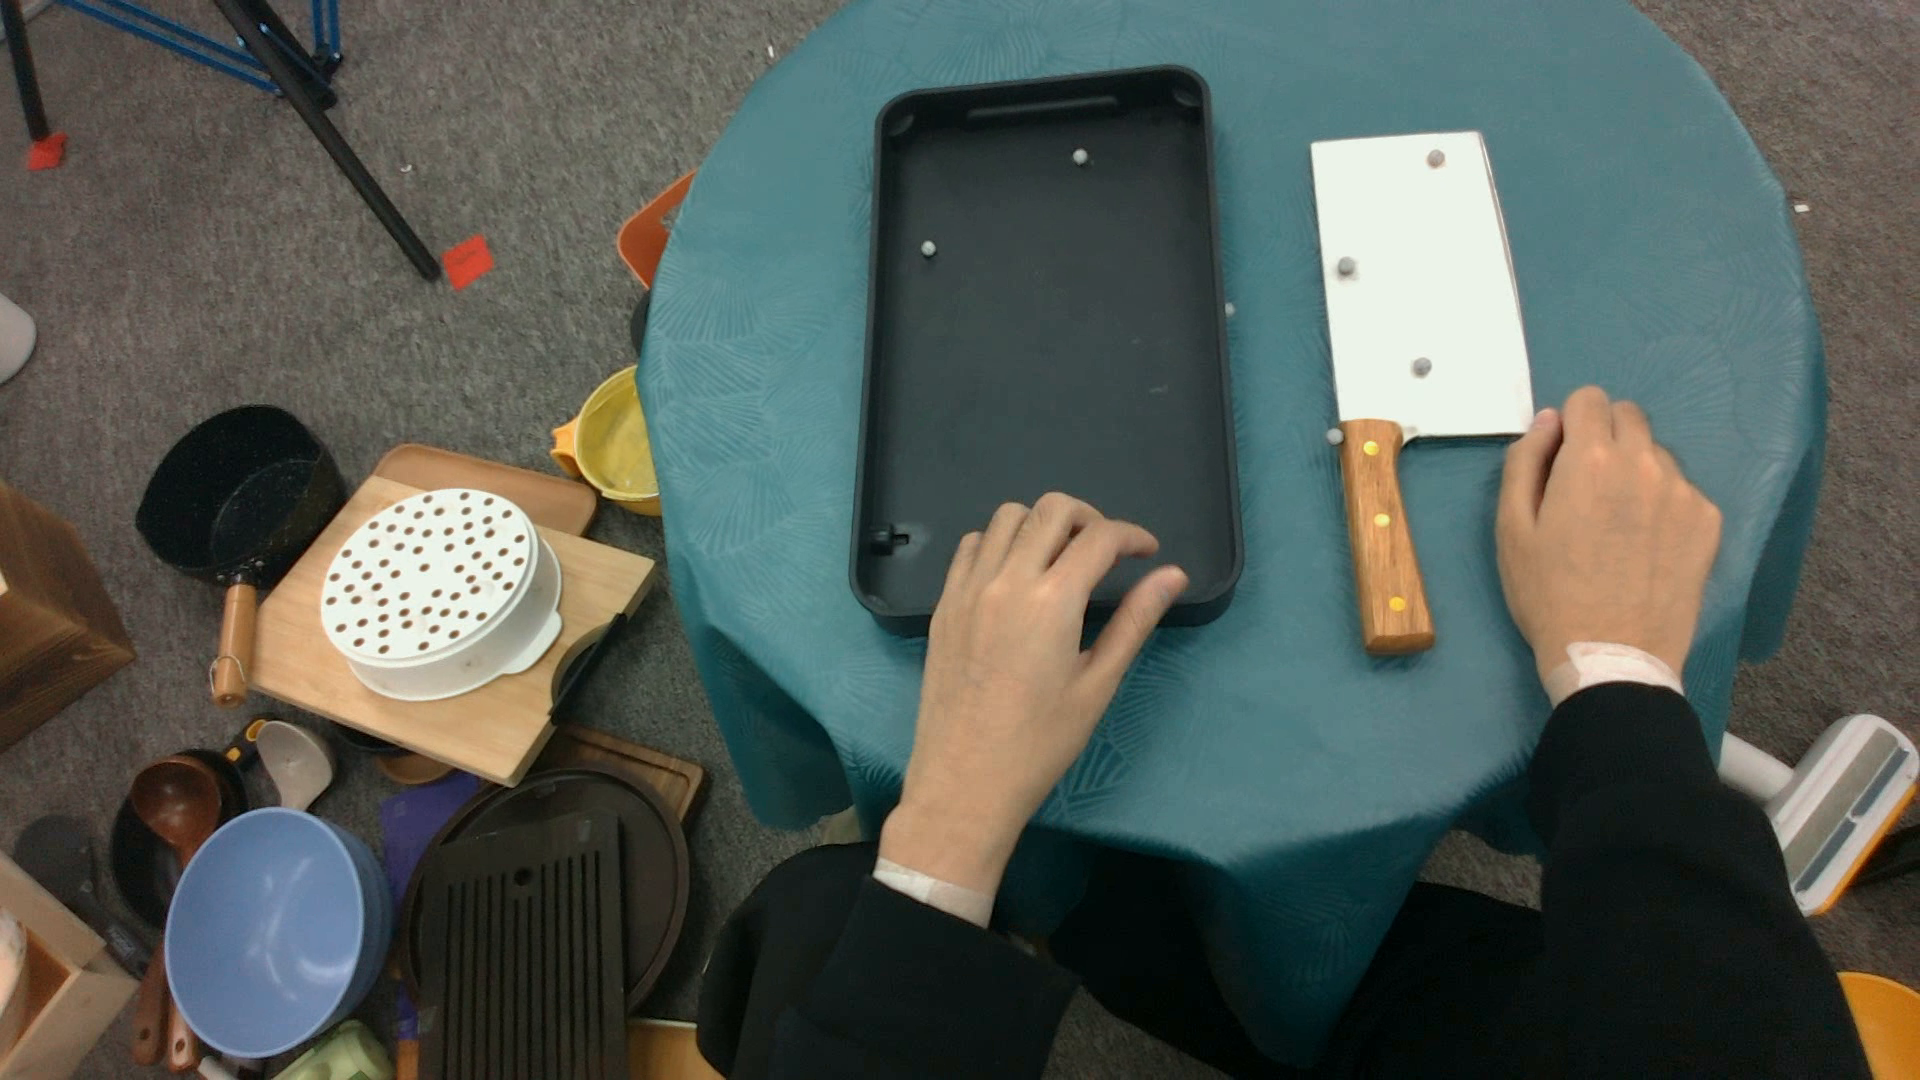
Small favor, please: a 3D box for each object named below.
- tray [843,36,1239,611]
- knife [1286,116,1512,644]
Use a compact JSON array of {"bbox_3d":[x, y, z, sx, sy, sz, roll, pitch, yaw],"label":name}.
[{"bbox_3d":[0.034,-0.119,0.706,0.184,0.037,0.319,-5,65,6],"label":"tray"},{"bbox_3d":[0.219,-0.093,0.678,0.093,0.021,0.307,-2,62,6],"label":"knife"}]
